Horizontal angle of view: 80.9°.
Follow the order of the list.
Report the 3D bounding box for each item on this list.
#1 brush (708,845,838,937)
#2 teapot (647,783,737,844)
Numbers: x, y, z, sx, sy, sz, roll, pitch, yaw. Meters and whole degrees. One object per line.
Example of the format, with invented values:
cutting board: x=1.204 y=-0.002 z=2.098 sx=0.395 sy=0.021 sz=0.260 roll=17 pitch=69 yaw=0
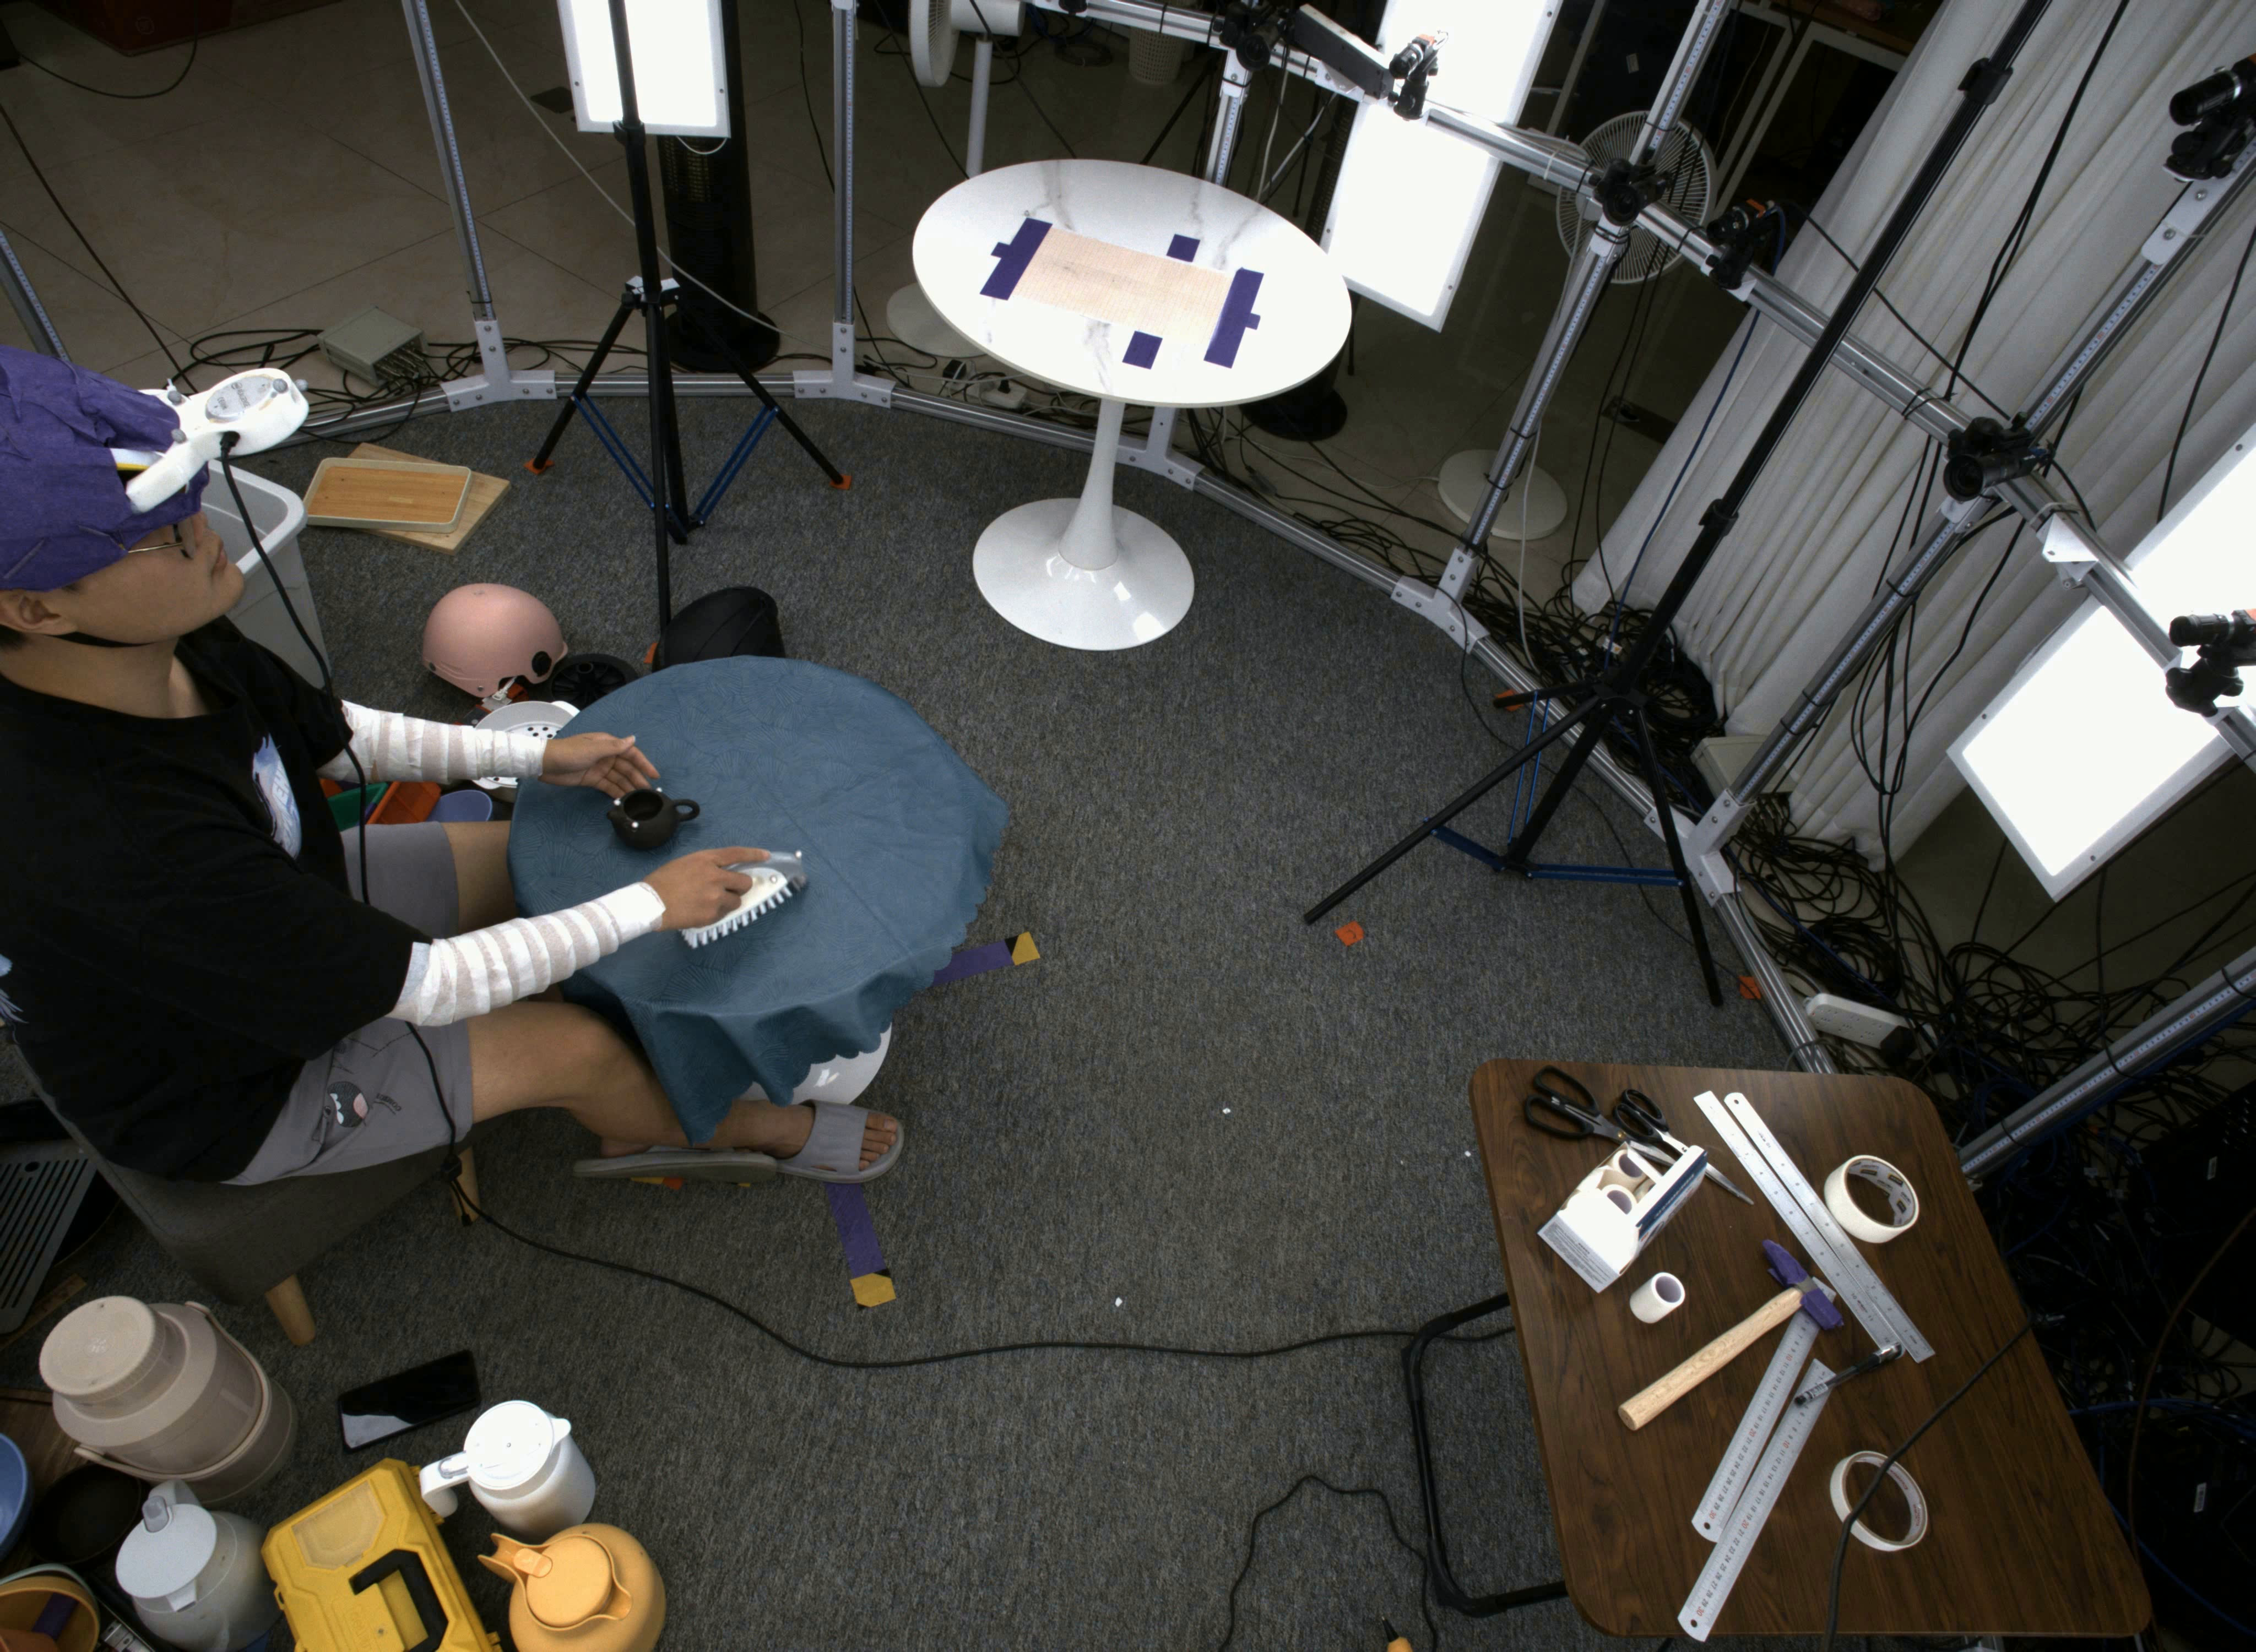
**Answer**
brush: x=-0.441 y=0.062 z=1.618 sx=0.176 sy=0.096 sz=0.060 roll=-26 pitch=63 yaw=-28
teapot: x=-0.568 y=-0.021 z=1.682 sx=0.114 sy=0.054 sz=0.081 roll=-9 pitch=57 yaw=-18
